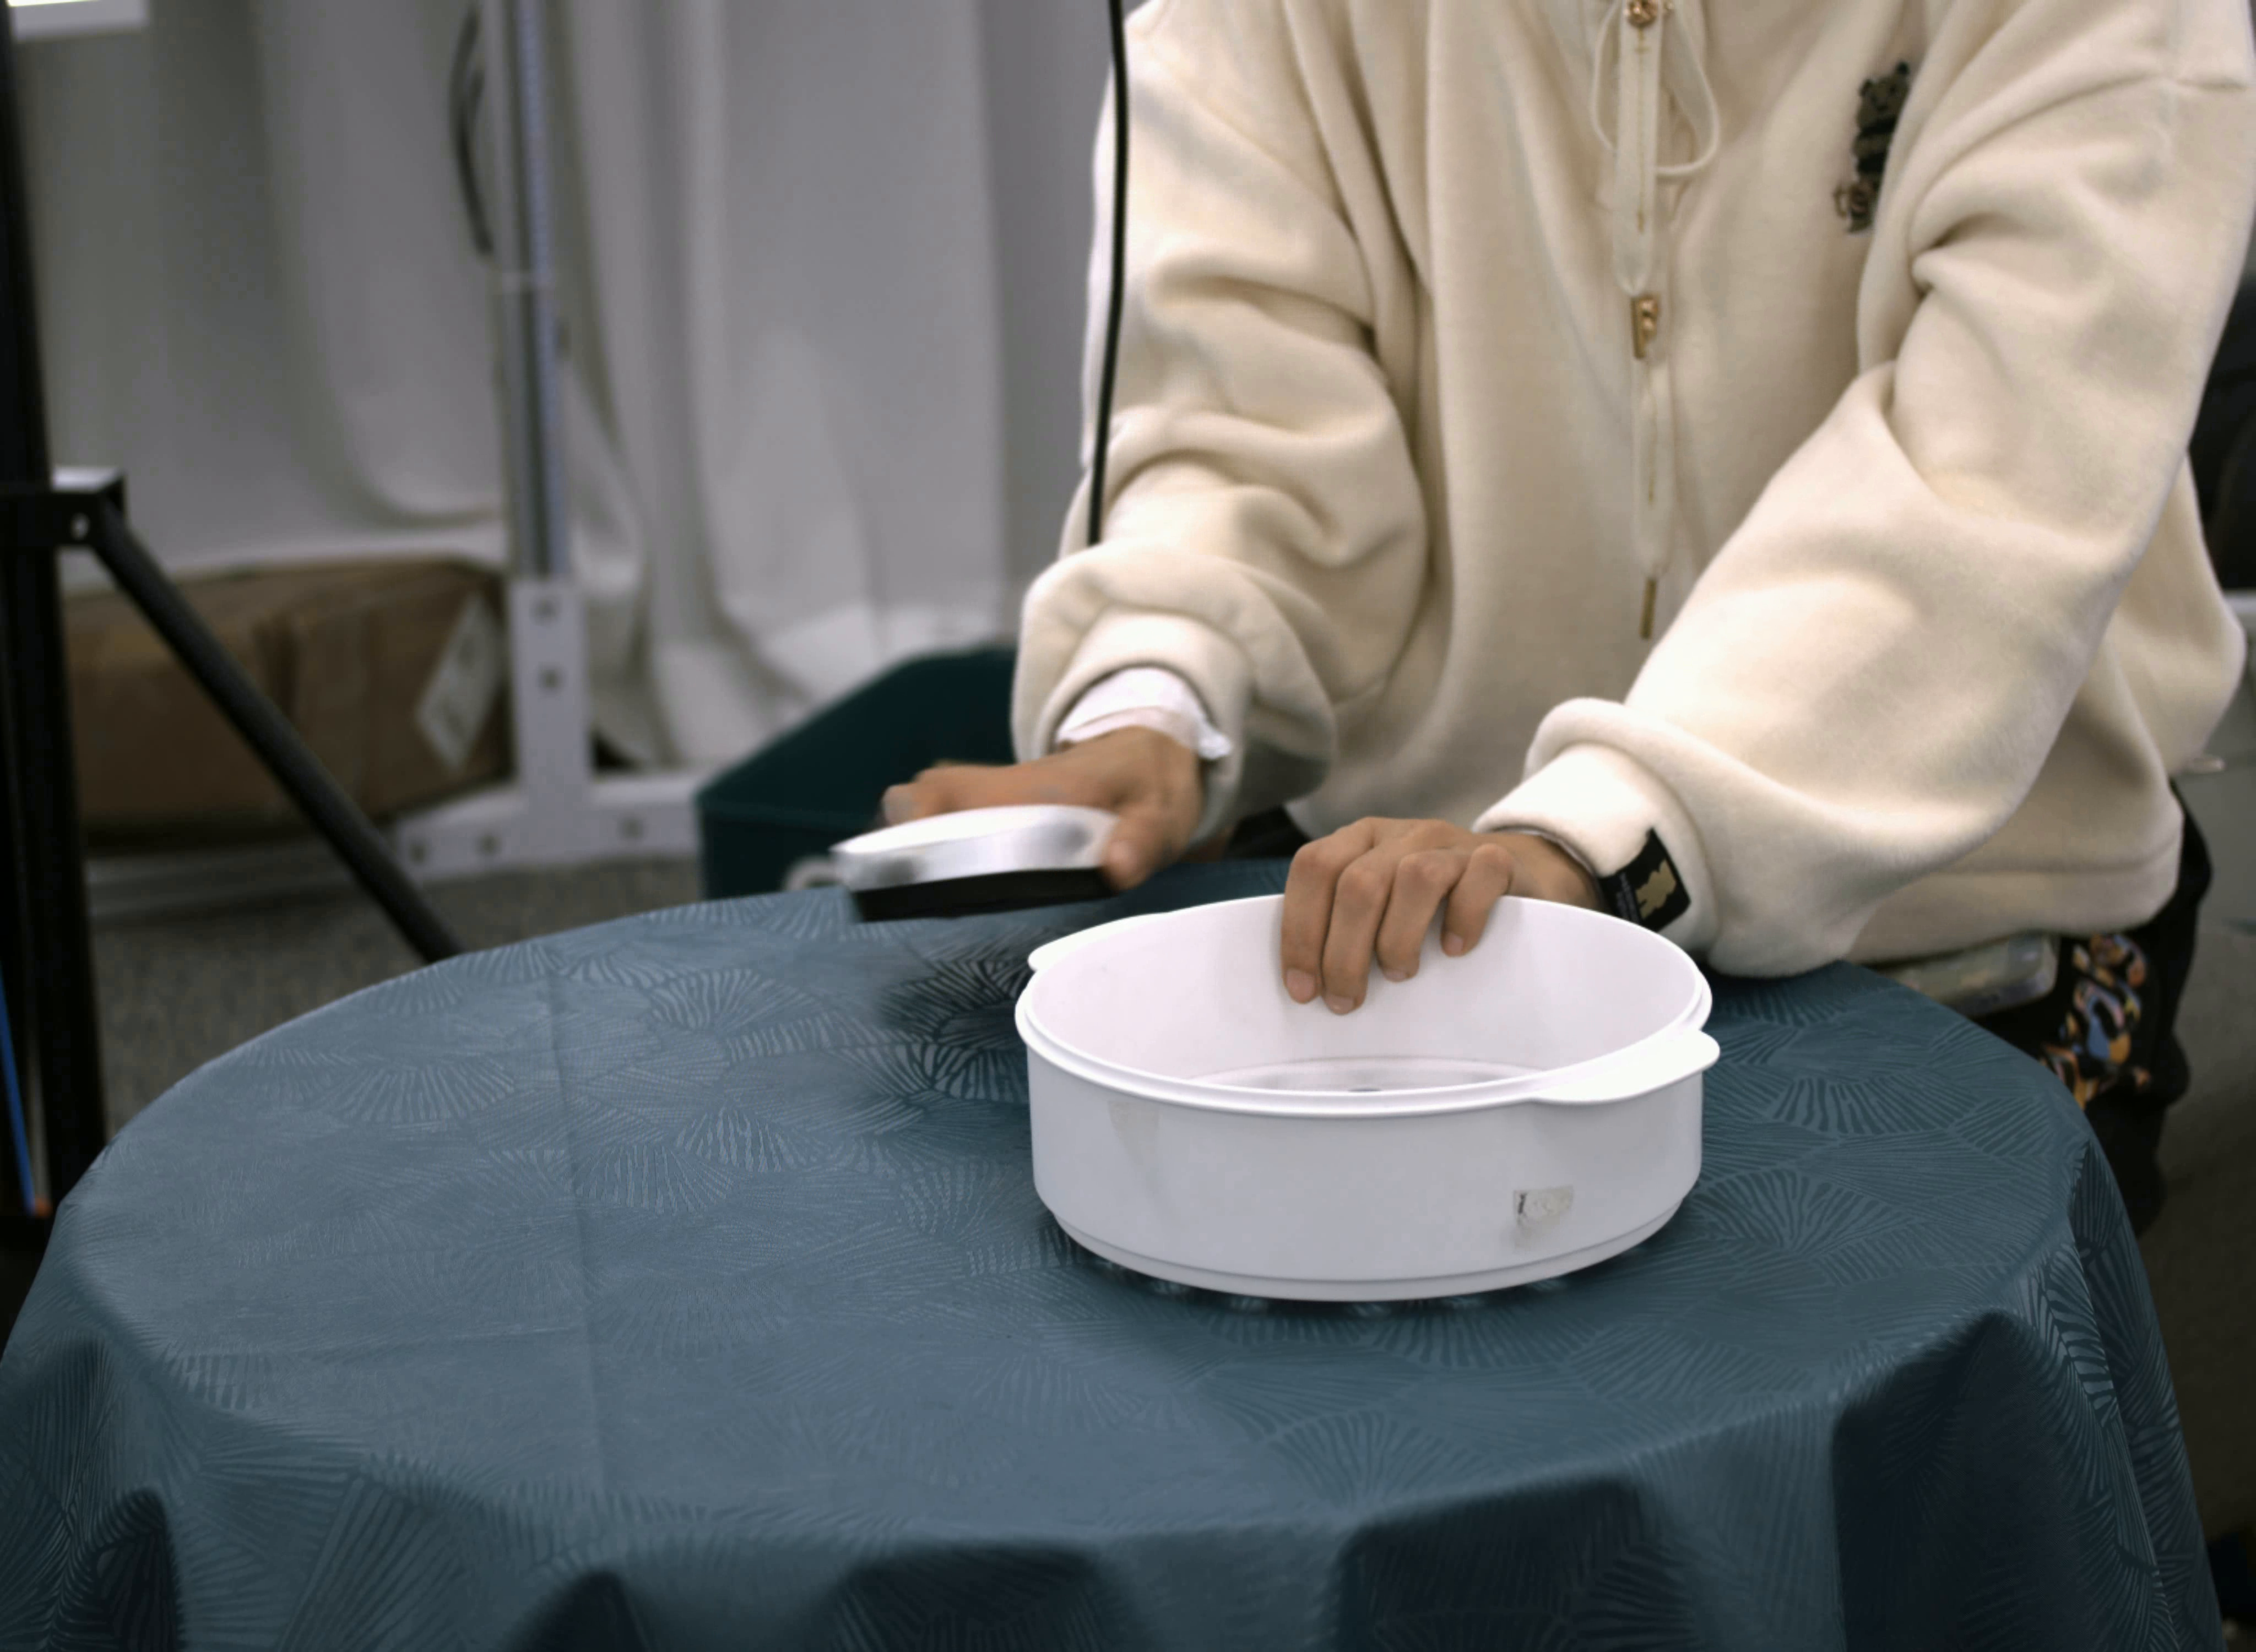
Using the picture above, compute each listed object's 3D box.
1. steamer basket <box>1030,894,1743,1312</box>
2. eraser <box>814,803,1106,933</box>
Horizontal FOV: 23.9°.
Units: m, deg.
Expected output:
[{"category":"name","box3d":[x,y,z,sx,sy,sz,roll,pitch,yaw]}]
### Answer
[{"category":"steamer basket","box3d":[0.073,0.079,1.524,0.236,0.069,0.197,14,22,43]},{"category":"eraser","box3d":[-0.050,0.014,1.703,0.064,0.035,0.129,-7,-1,20]}]
